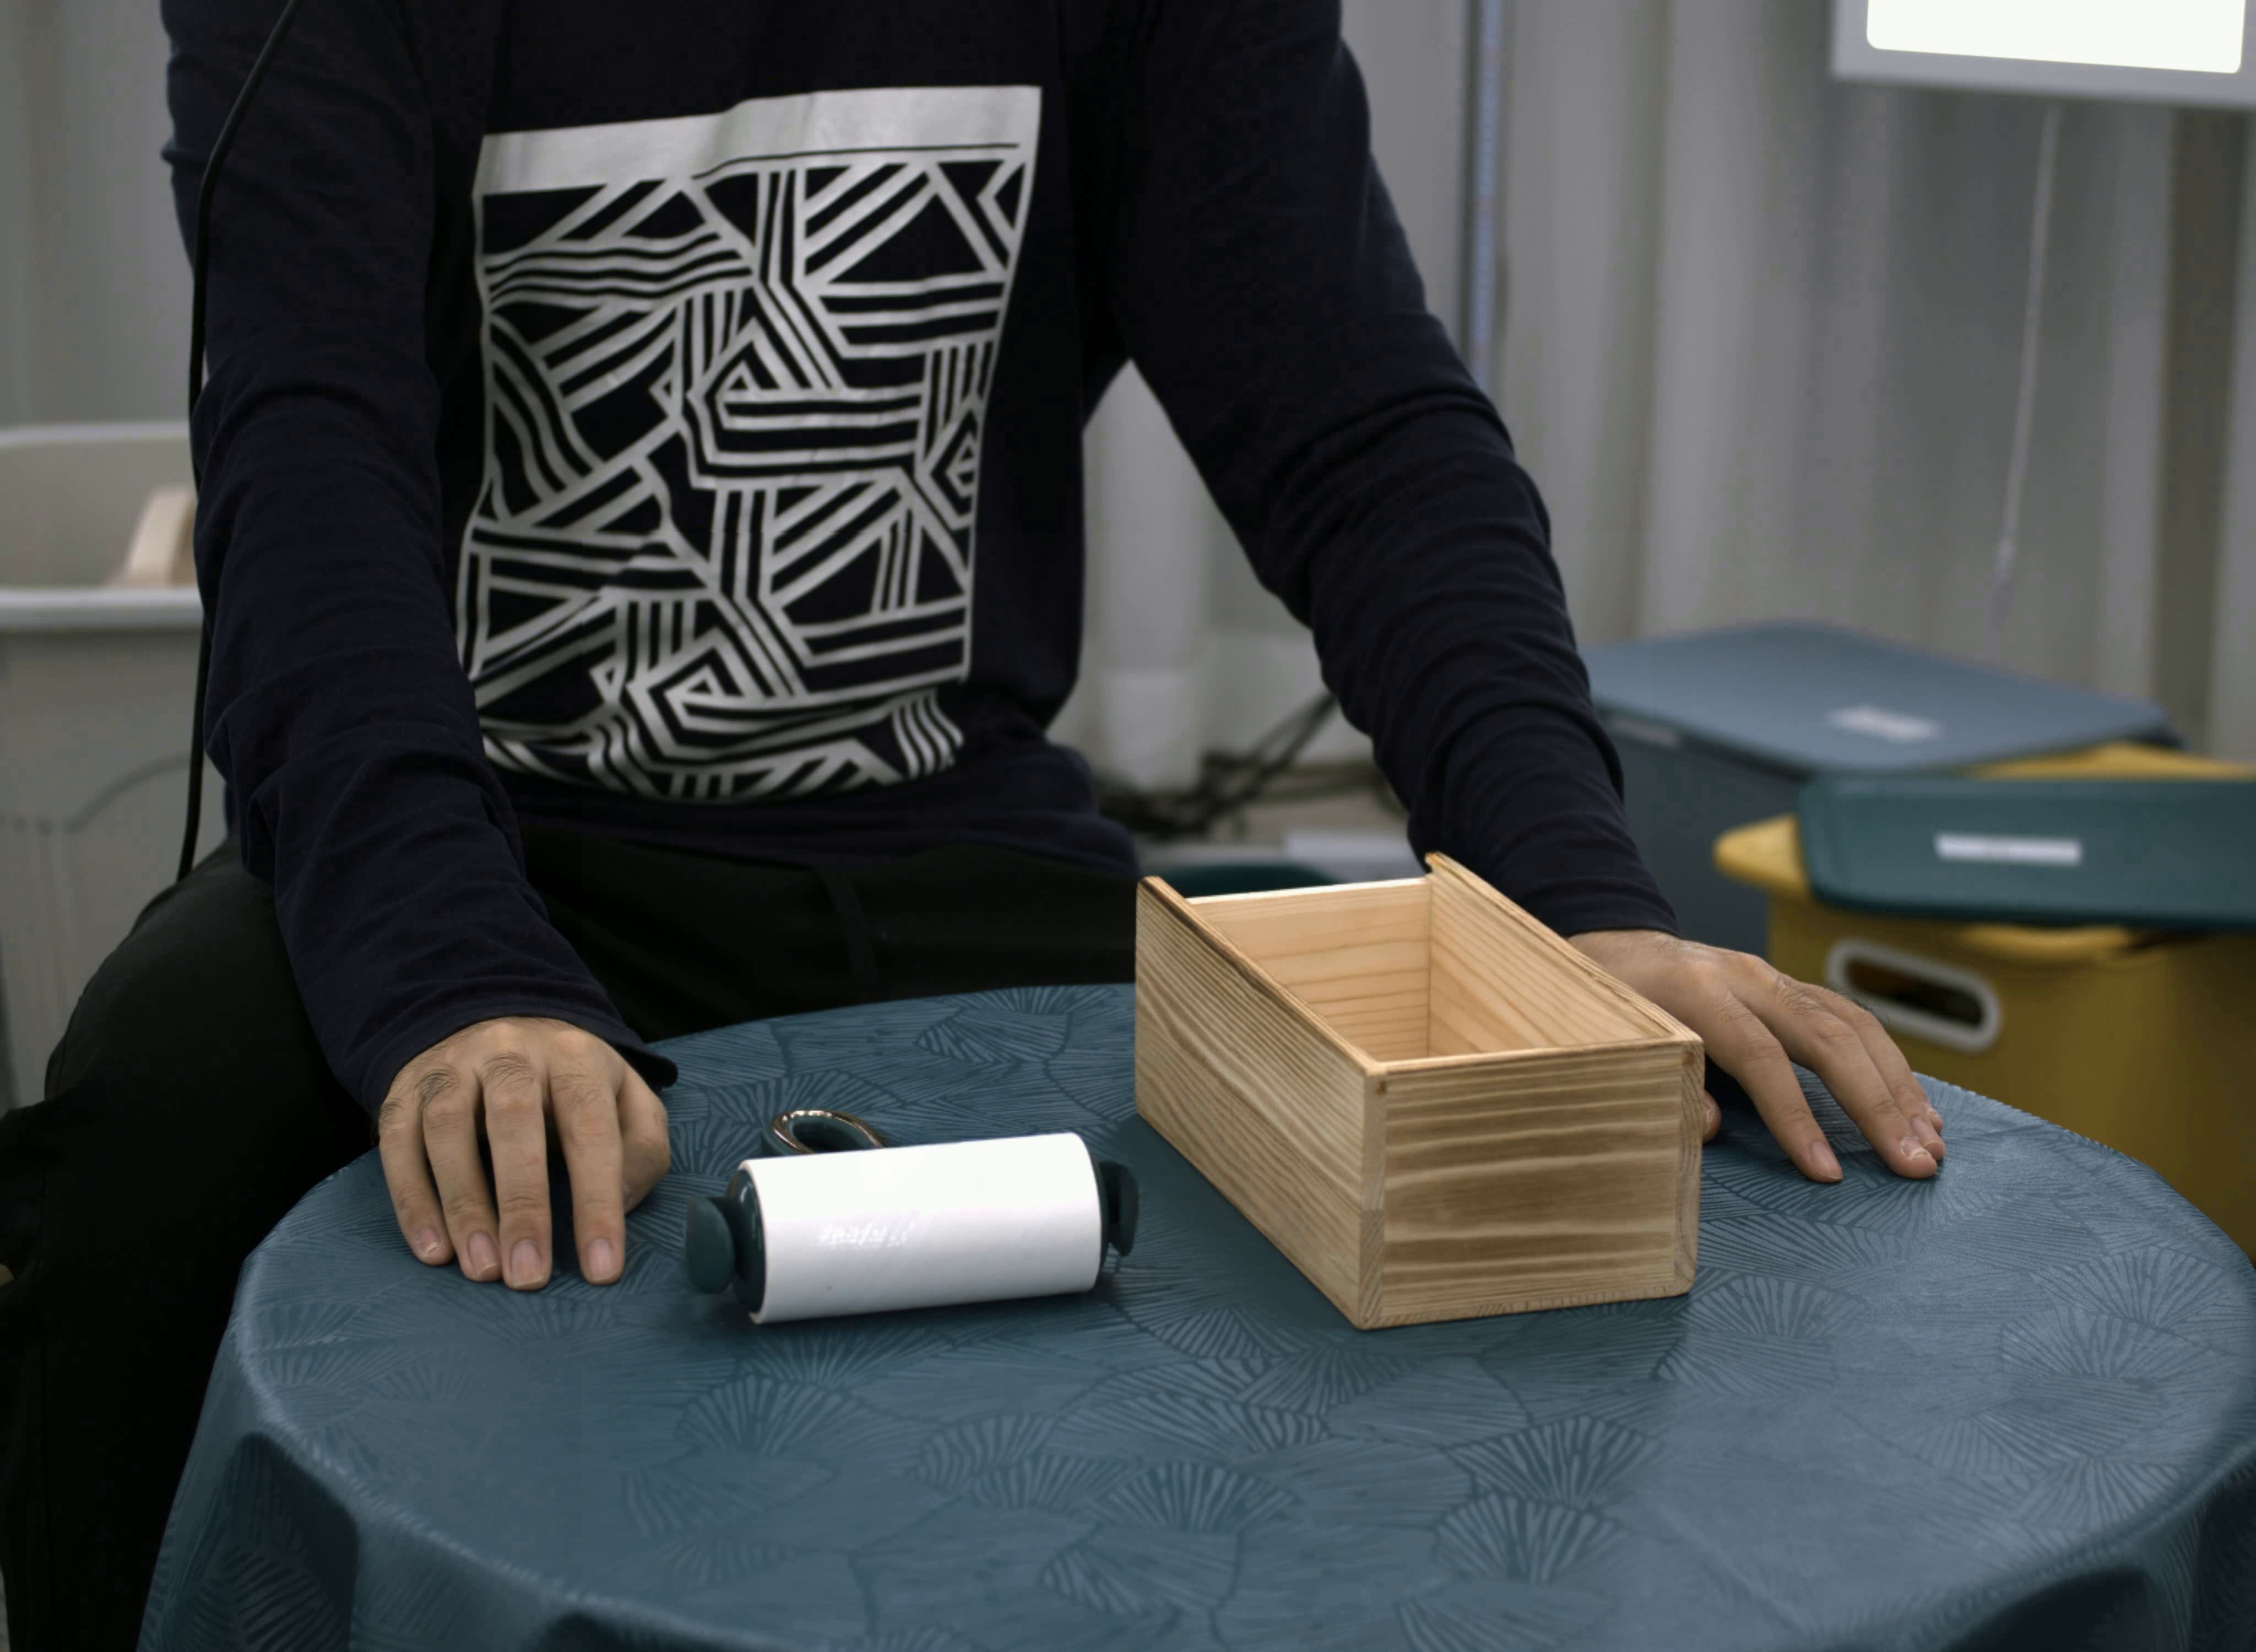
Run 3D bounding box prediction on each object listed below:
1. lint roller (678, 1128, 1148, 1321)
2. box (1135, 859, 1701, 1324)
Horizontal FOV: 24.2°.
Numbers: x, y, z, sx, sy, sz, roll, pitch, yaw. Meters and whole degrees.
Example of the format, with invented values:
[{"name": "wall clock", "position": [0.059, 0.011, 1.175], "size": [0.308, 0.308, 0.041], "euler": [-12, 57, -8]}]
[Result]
[{"name": "lint roller", "position": [-0.081, 0.103, 1.583], "size": [0.134, 0.048, 0.178], "euler": [-4, 12, -16]}, {"name": "box", "position": [0.084, 0.077, 1.607], "size": [0.108, 0.081, 0.209], "euler": [-6, 15, -18]}]
